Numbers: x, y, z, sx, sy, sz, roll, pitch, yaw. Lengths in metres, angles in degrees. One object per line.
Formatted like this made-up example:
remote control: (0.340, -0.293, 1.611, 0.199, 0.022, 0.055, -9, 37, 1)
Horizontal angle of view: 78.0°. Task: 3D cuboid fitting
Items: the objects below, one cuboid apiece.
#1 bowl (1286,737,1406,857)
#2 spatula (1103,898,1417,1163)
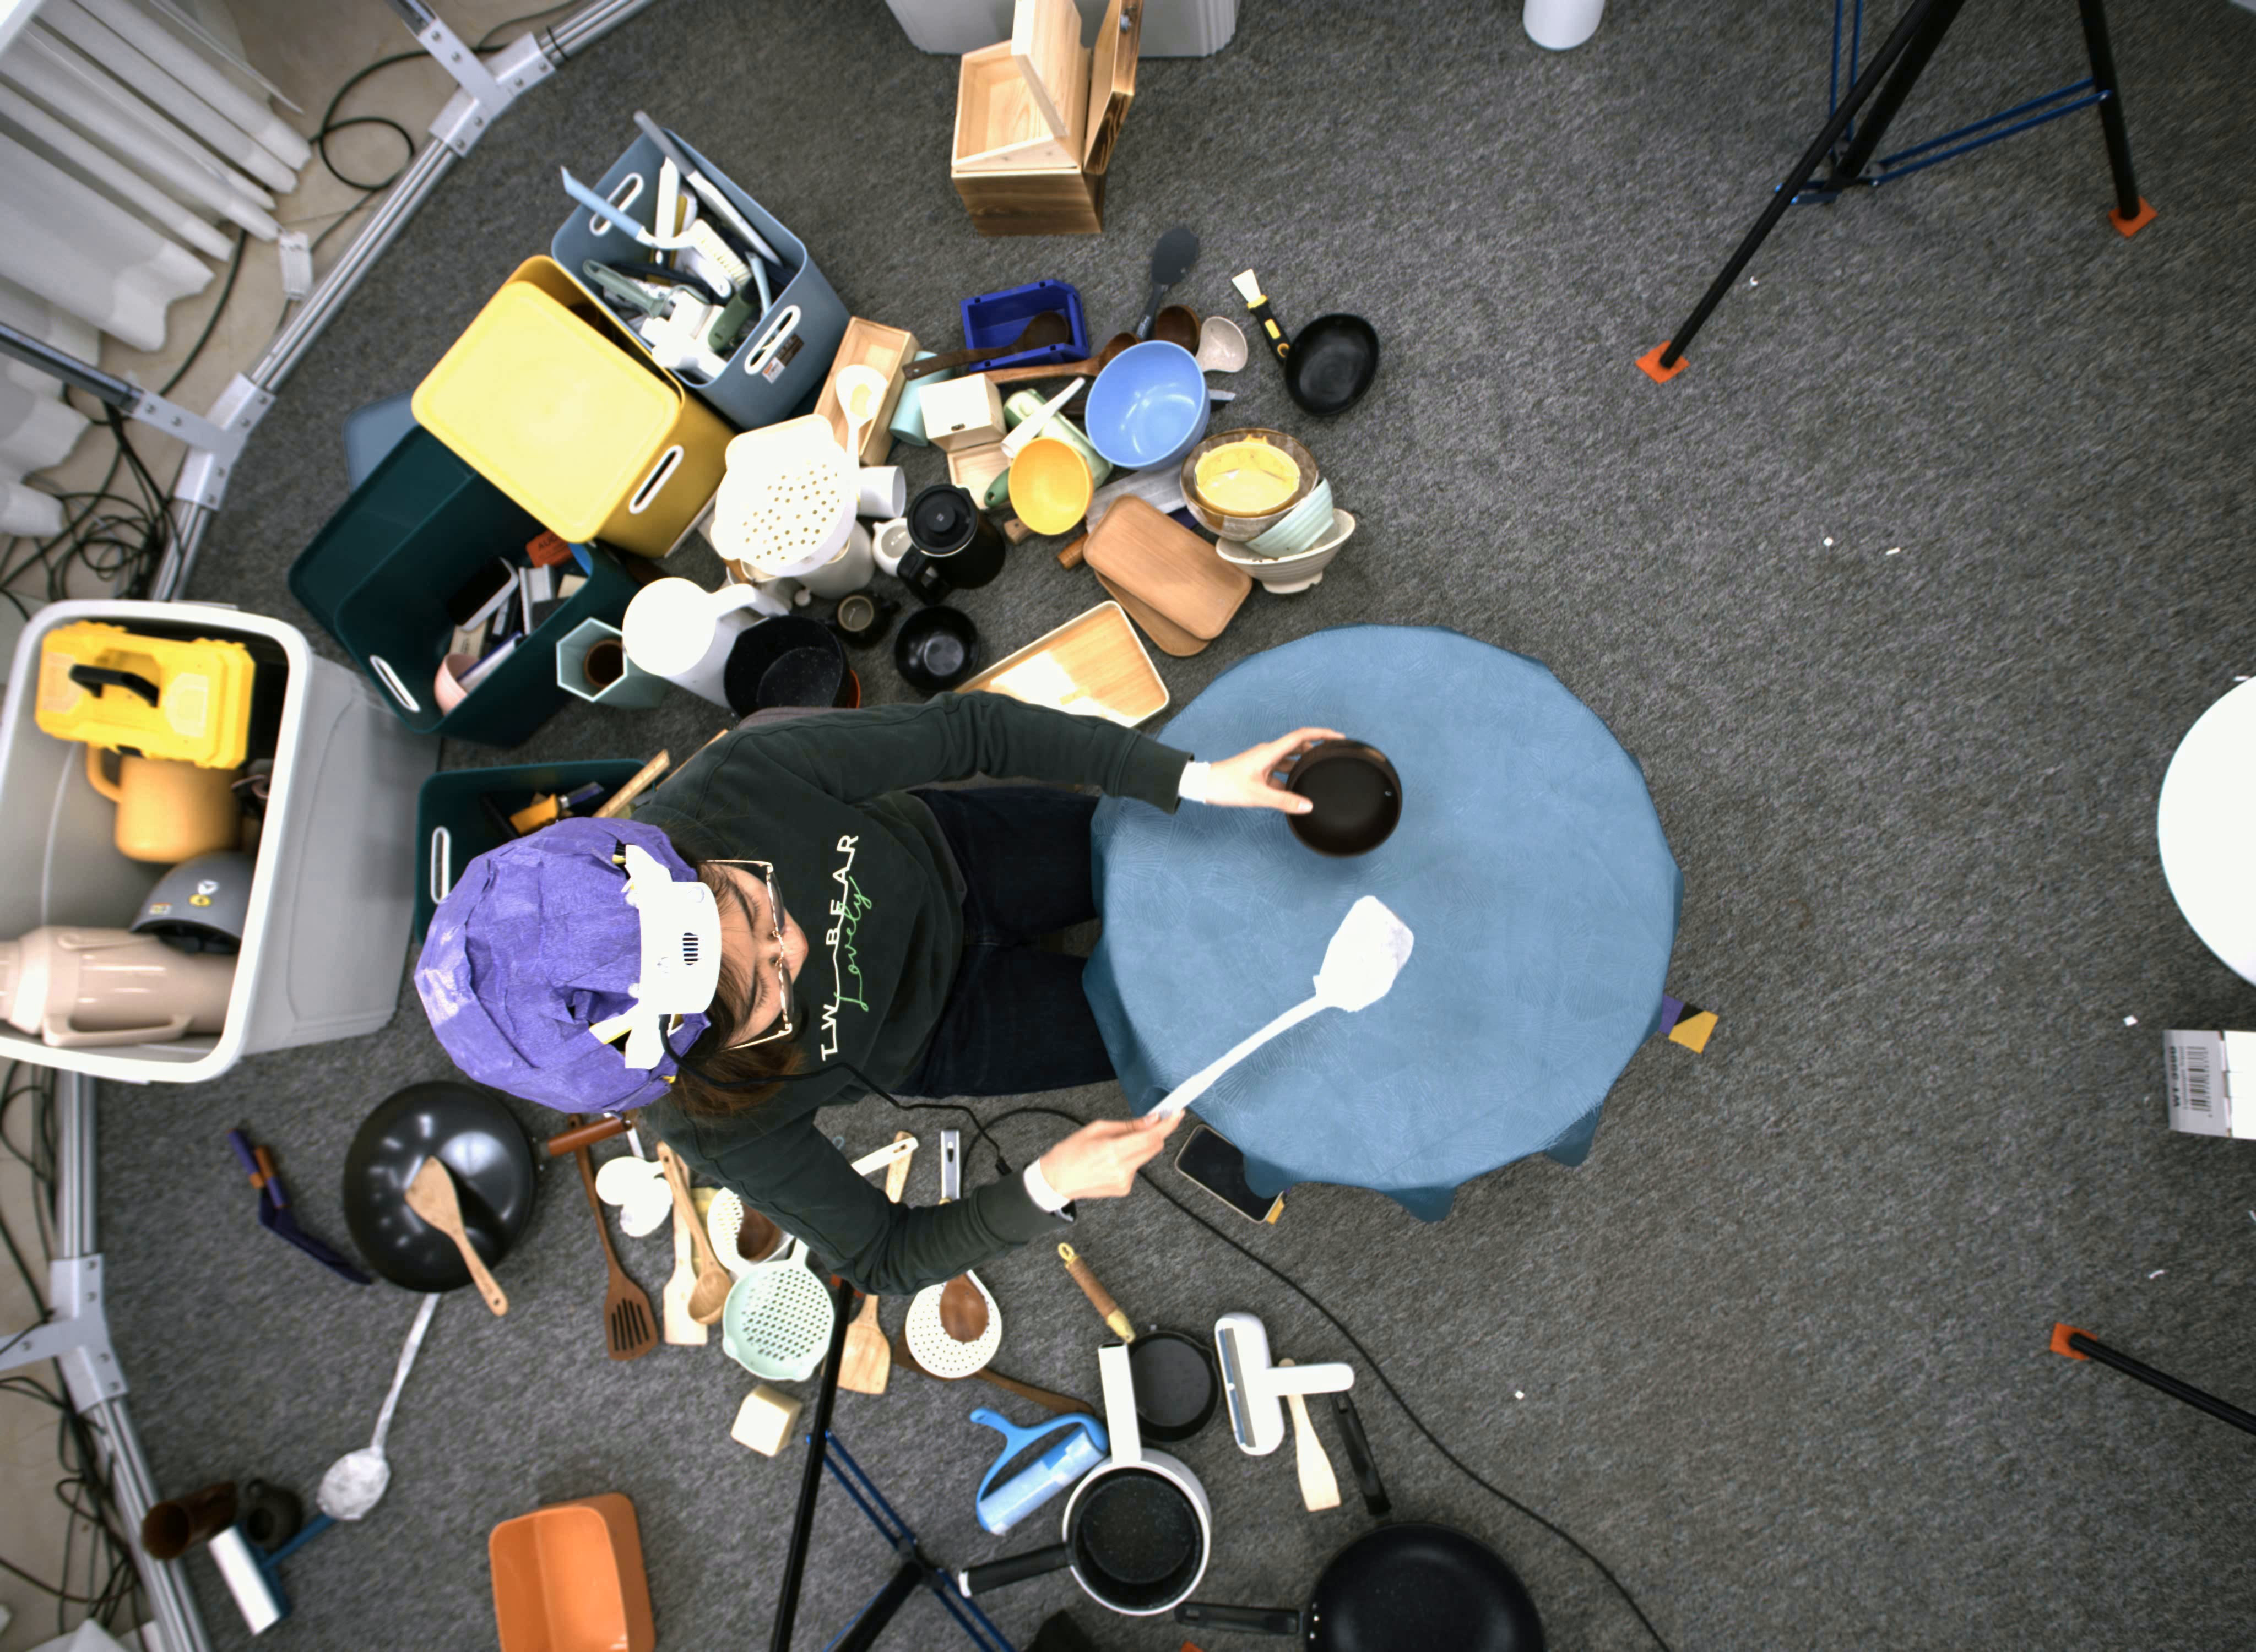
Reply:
bowl: (0.217, -0.036, 1.377, 0.118, 0.068, 0.120, 4, 117, 8)
spatula: (0.116, 0.204, 1.302, 0.366, 0.045, 0.097, -36, 39, 3)
